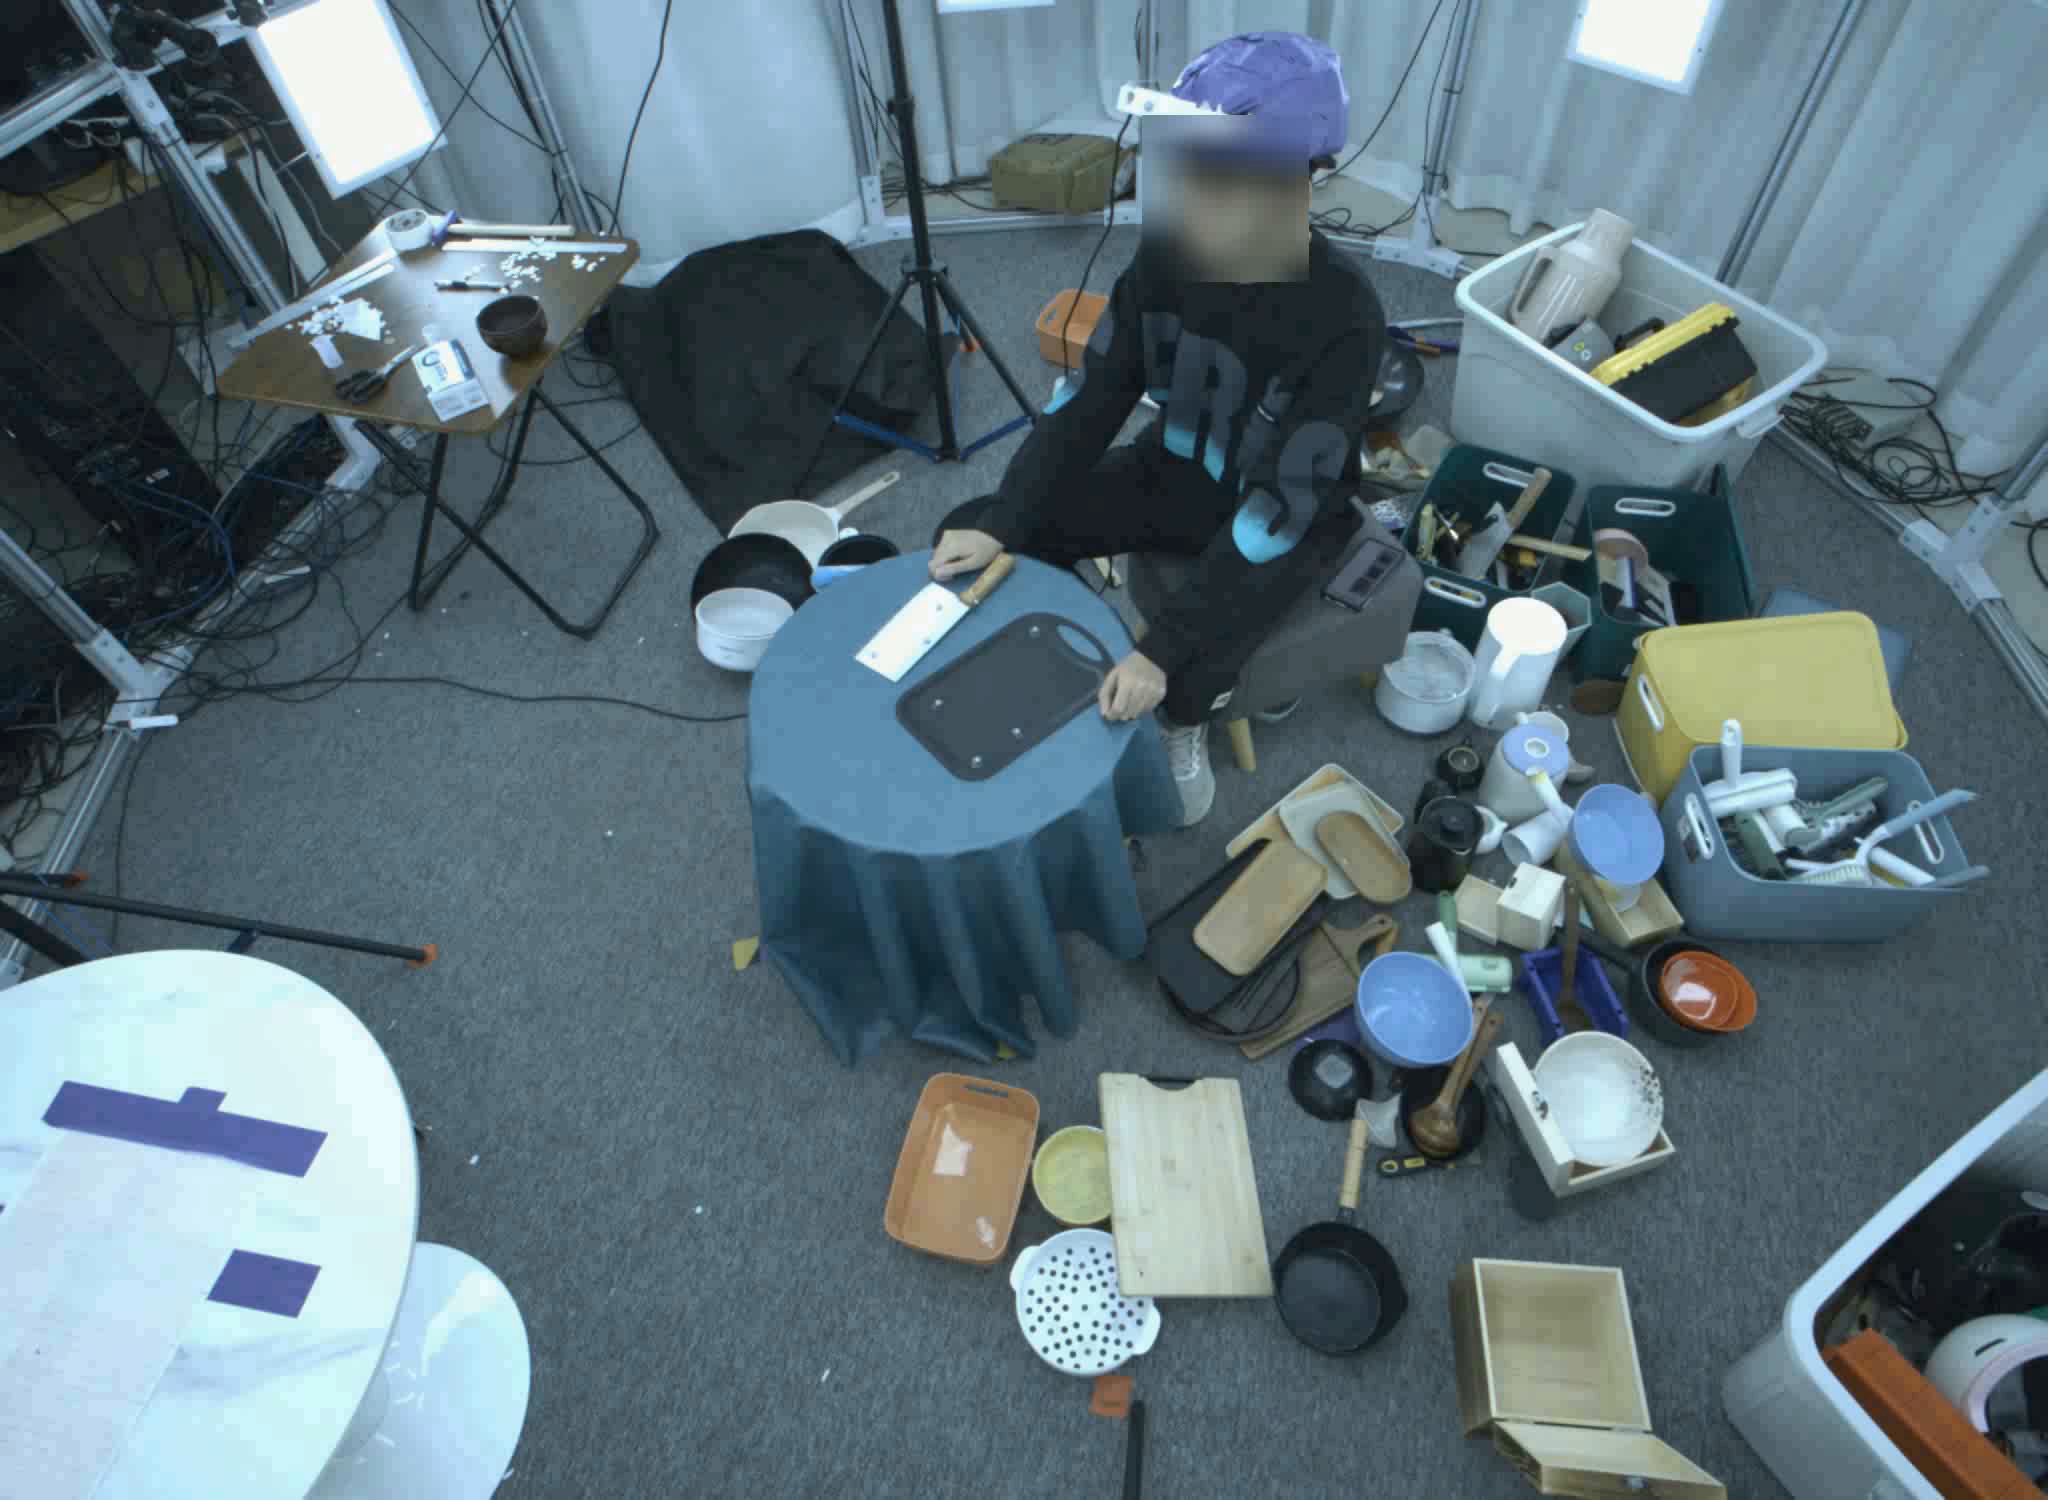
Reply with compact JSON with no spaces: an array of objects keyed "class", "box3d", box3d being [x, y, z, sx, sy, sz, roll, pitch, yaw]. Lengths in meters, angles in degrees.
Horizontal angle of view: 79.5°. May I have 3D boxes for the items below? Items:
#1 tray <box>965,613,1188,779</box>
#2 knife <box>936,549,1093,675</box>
[{"class":"tray","box3d":[0.085,-0.093,1.845,0.328,0.010,0.207,-31,59,-18]},{"class":"knife","box3d":[-0.018,-0.231,1.942,0.091,0.021,0.307,35,65,25]}]
